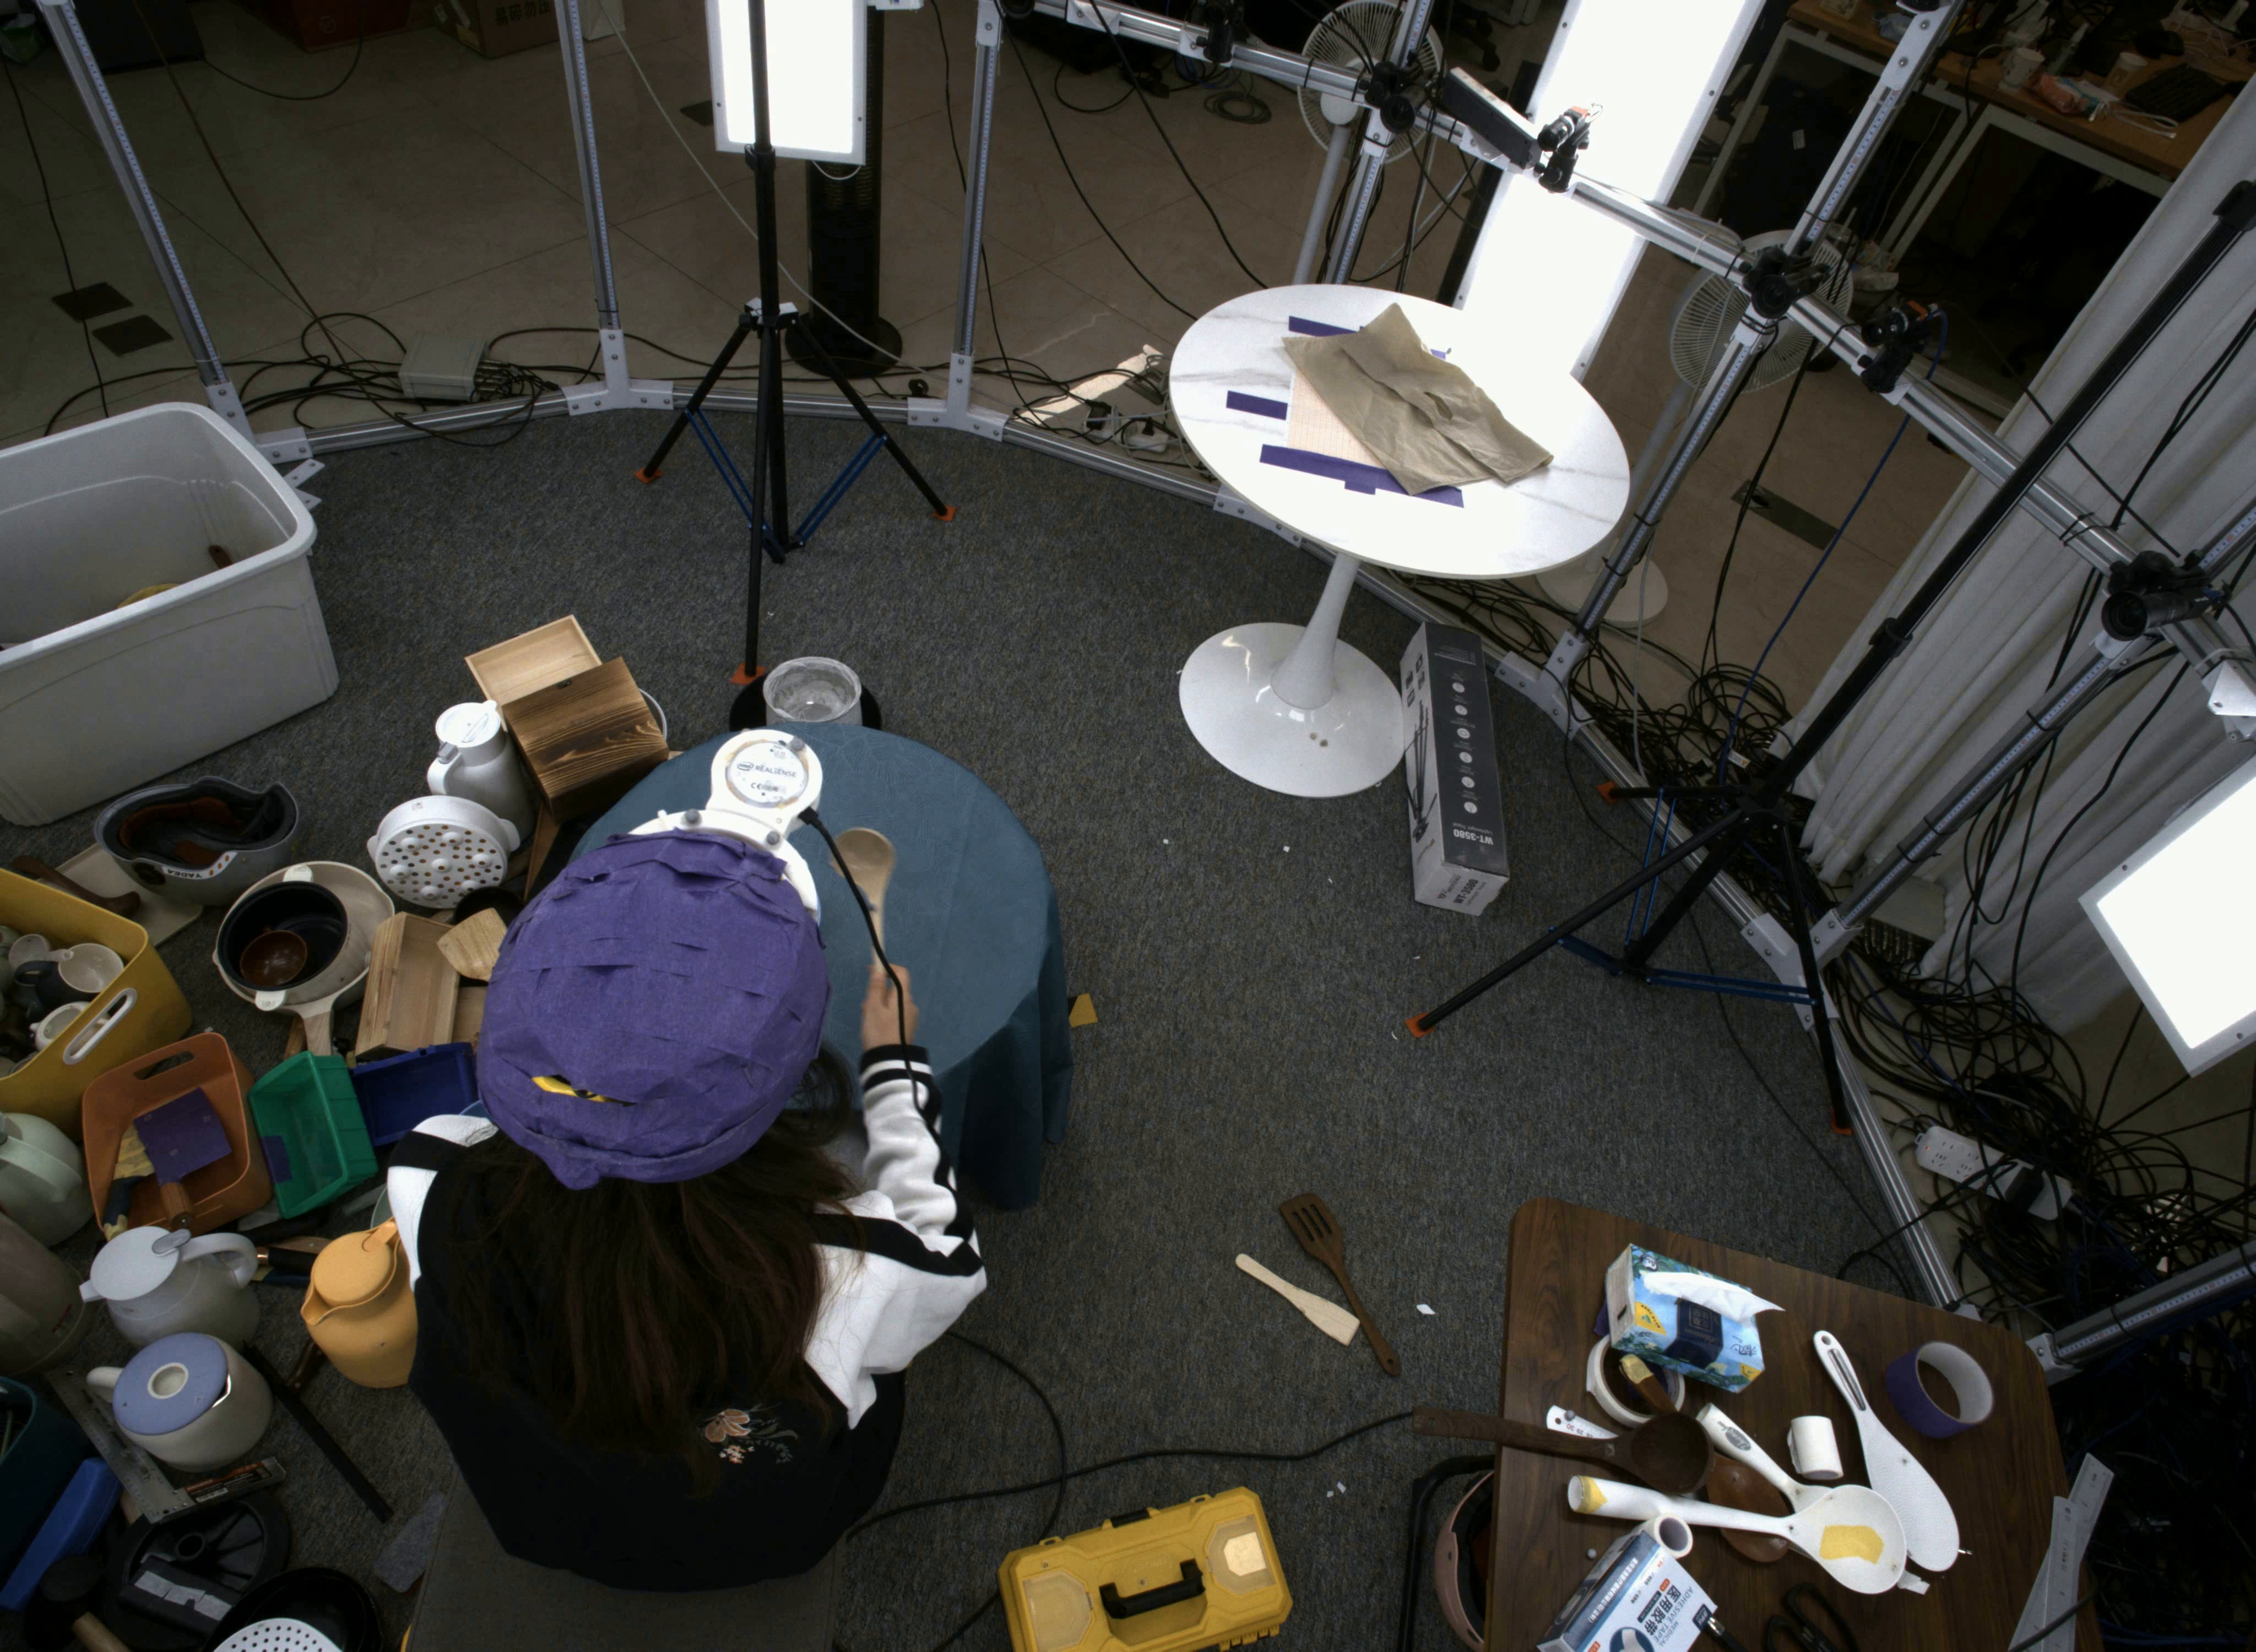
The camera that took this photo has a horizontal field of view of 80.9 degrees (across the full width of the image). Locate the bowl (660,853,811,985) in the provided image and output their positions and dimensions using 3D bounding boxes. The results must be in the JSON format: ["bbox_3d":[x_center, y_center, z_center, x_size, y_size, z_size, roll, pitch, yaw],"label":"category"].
[{"bbox_3d":[-0.473,0.122,1.564,0.176,0.071,0.173,9,55,-11],"label":"bowl"}]

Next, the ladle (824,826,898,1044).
[{"bbox_3d":[-0.293,0.113,1.447,0.071,0.075,0.249,-17,57,3],"label":"ladle"}]
